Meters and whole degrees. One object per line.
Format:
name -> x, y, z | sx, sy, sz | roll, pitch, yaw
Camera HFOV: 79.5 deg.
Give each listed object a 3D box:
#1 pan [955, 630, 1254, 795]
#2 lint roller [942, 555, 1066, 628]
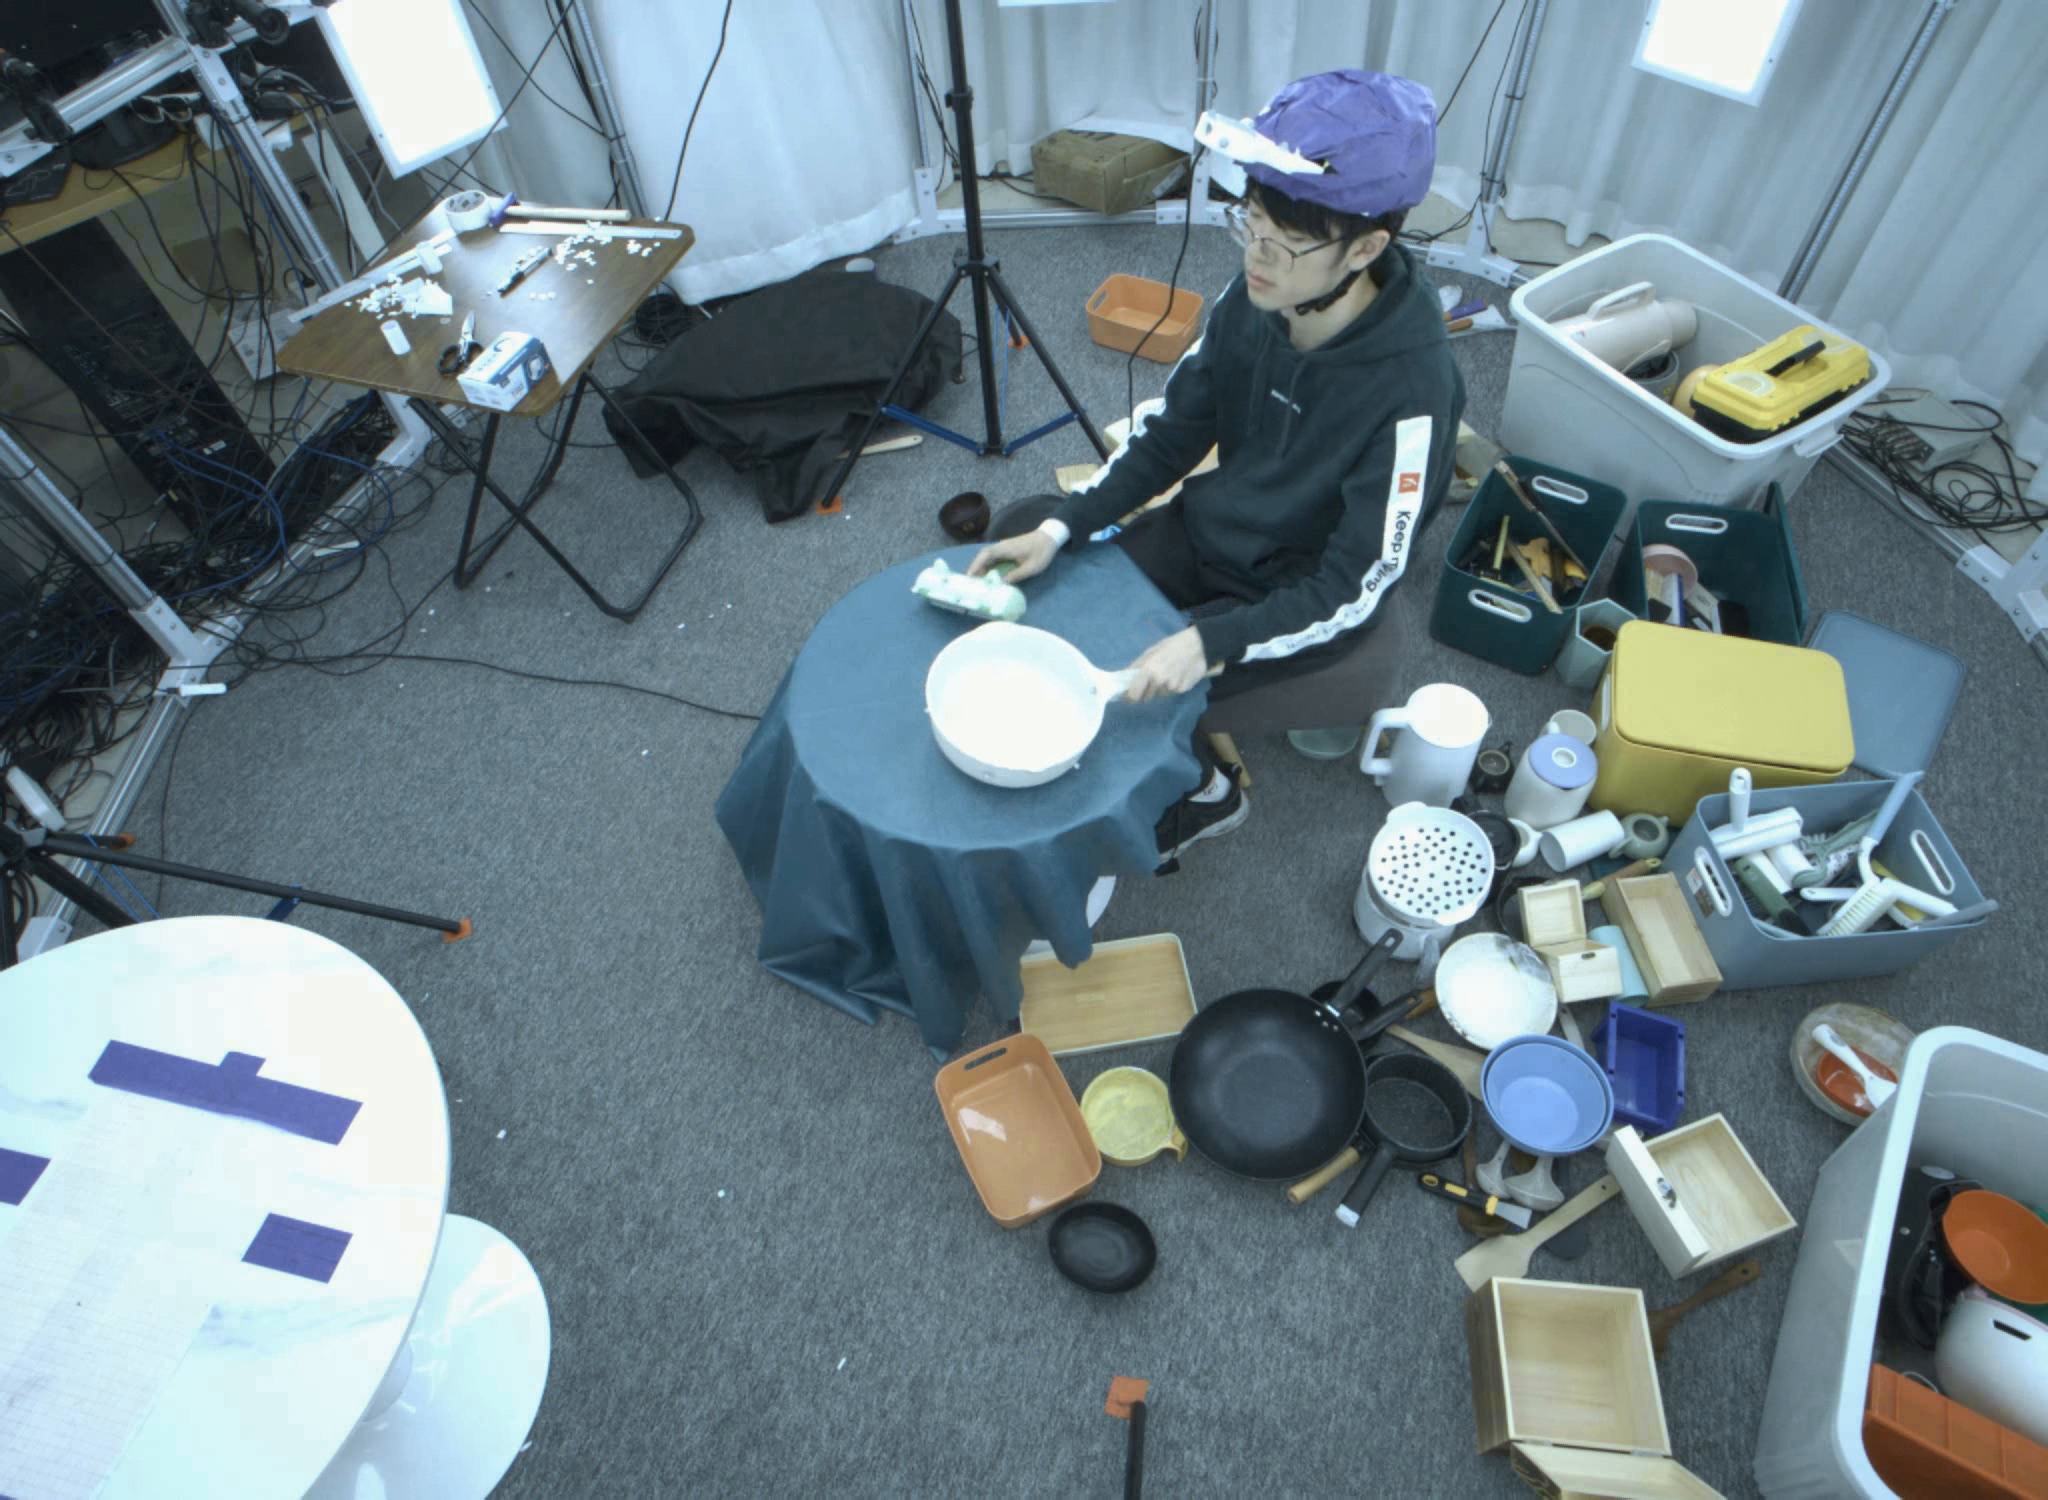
pan -> 0.115, -0.060, 1.761 | 0.439, 0.102, 0.259 | -6, 56, -14
lint roller -> -0.004, -0.275, 1.911 | 0.194, 0.083, 0.184 | 25, 56, 37
